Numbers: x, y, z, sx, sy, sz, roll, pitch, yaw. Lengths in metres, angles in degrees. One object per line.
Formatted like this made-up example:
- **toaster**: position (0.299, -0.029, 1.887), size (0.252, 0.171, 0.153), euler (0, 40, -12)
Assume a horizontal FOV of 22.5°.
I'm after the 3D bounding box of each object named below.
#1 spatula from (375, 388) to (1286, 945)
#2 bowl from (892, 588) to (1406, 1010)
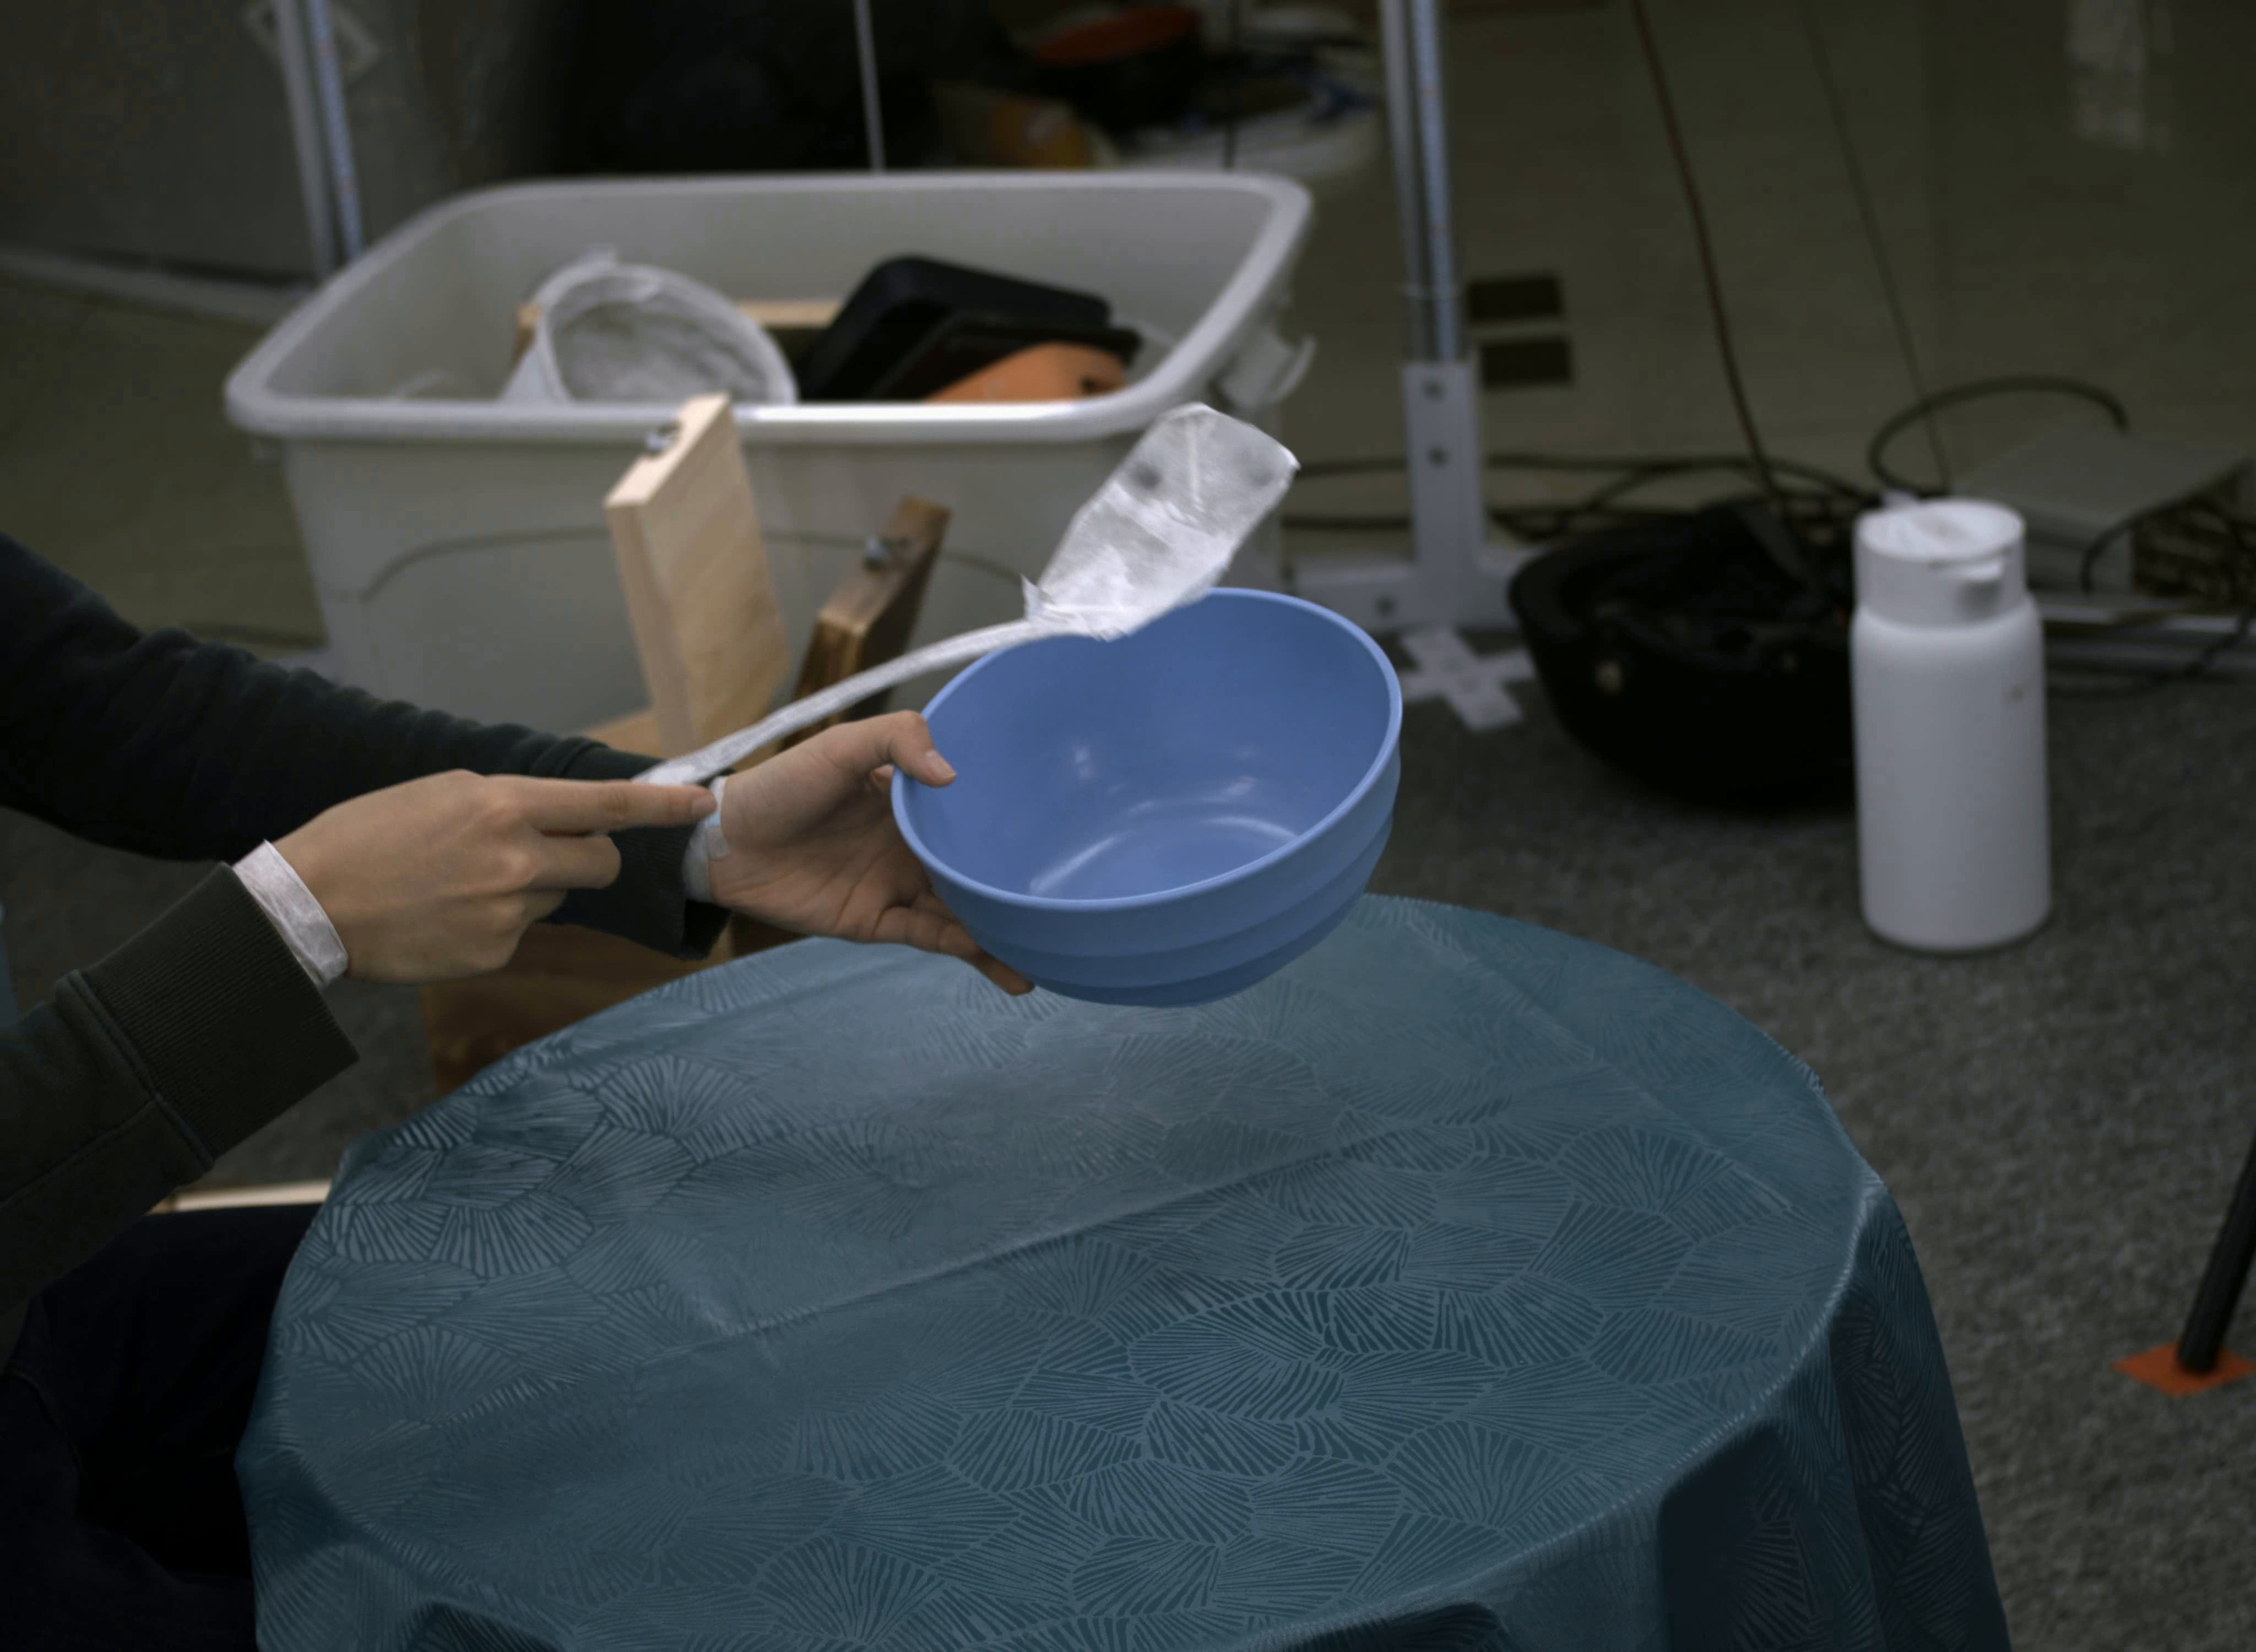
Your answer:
- **spatula**: position (-0.106, -0.052, 1.991), size (0.363, 0.045, 0.097), euler (-27, 33, -15)
- **bowl**: position (0.015, 0.005, 2.152), size (0.196, 0.097, 0.193), euler (-8, 38, 6)
